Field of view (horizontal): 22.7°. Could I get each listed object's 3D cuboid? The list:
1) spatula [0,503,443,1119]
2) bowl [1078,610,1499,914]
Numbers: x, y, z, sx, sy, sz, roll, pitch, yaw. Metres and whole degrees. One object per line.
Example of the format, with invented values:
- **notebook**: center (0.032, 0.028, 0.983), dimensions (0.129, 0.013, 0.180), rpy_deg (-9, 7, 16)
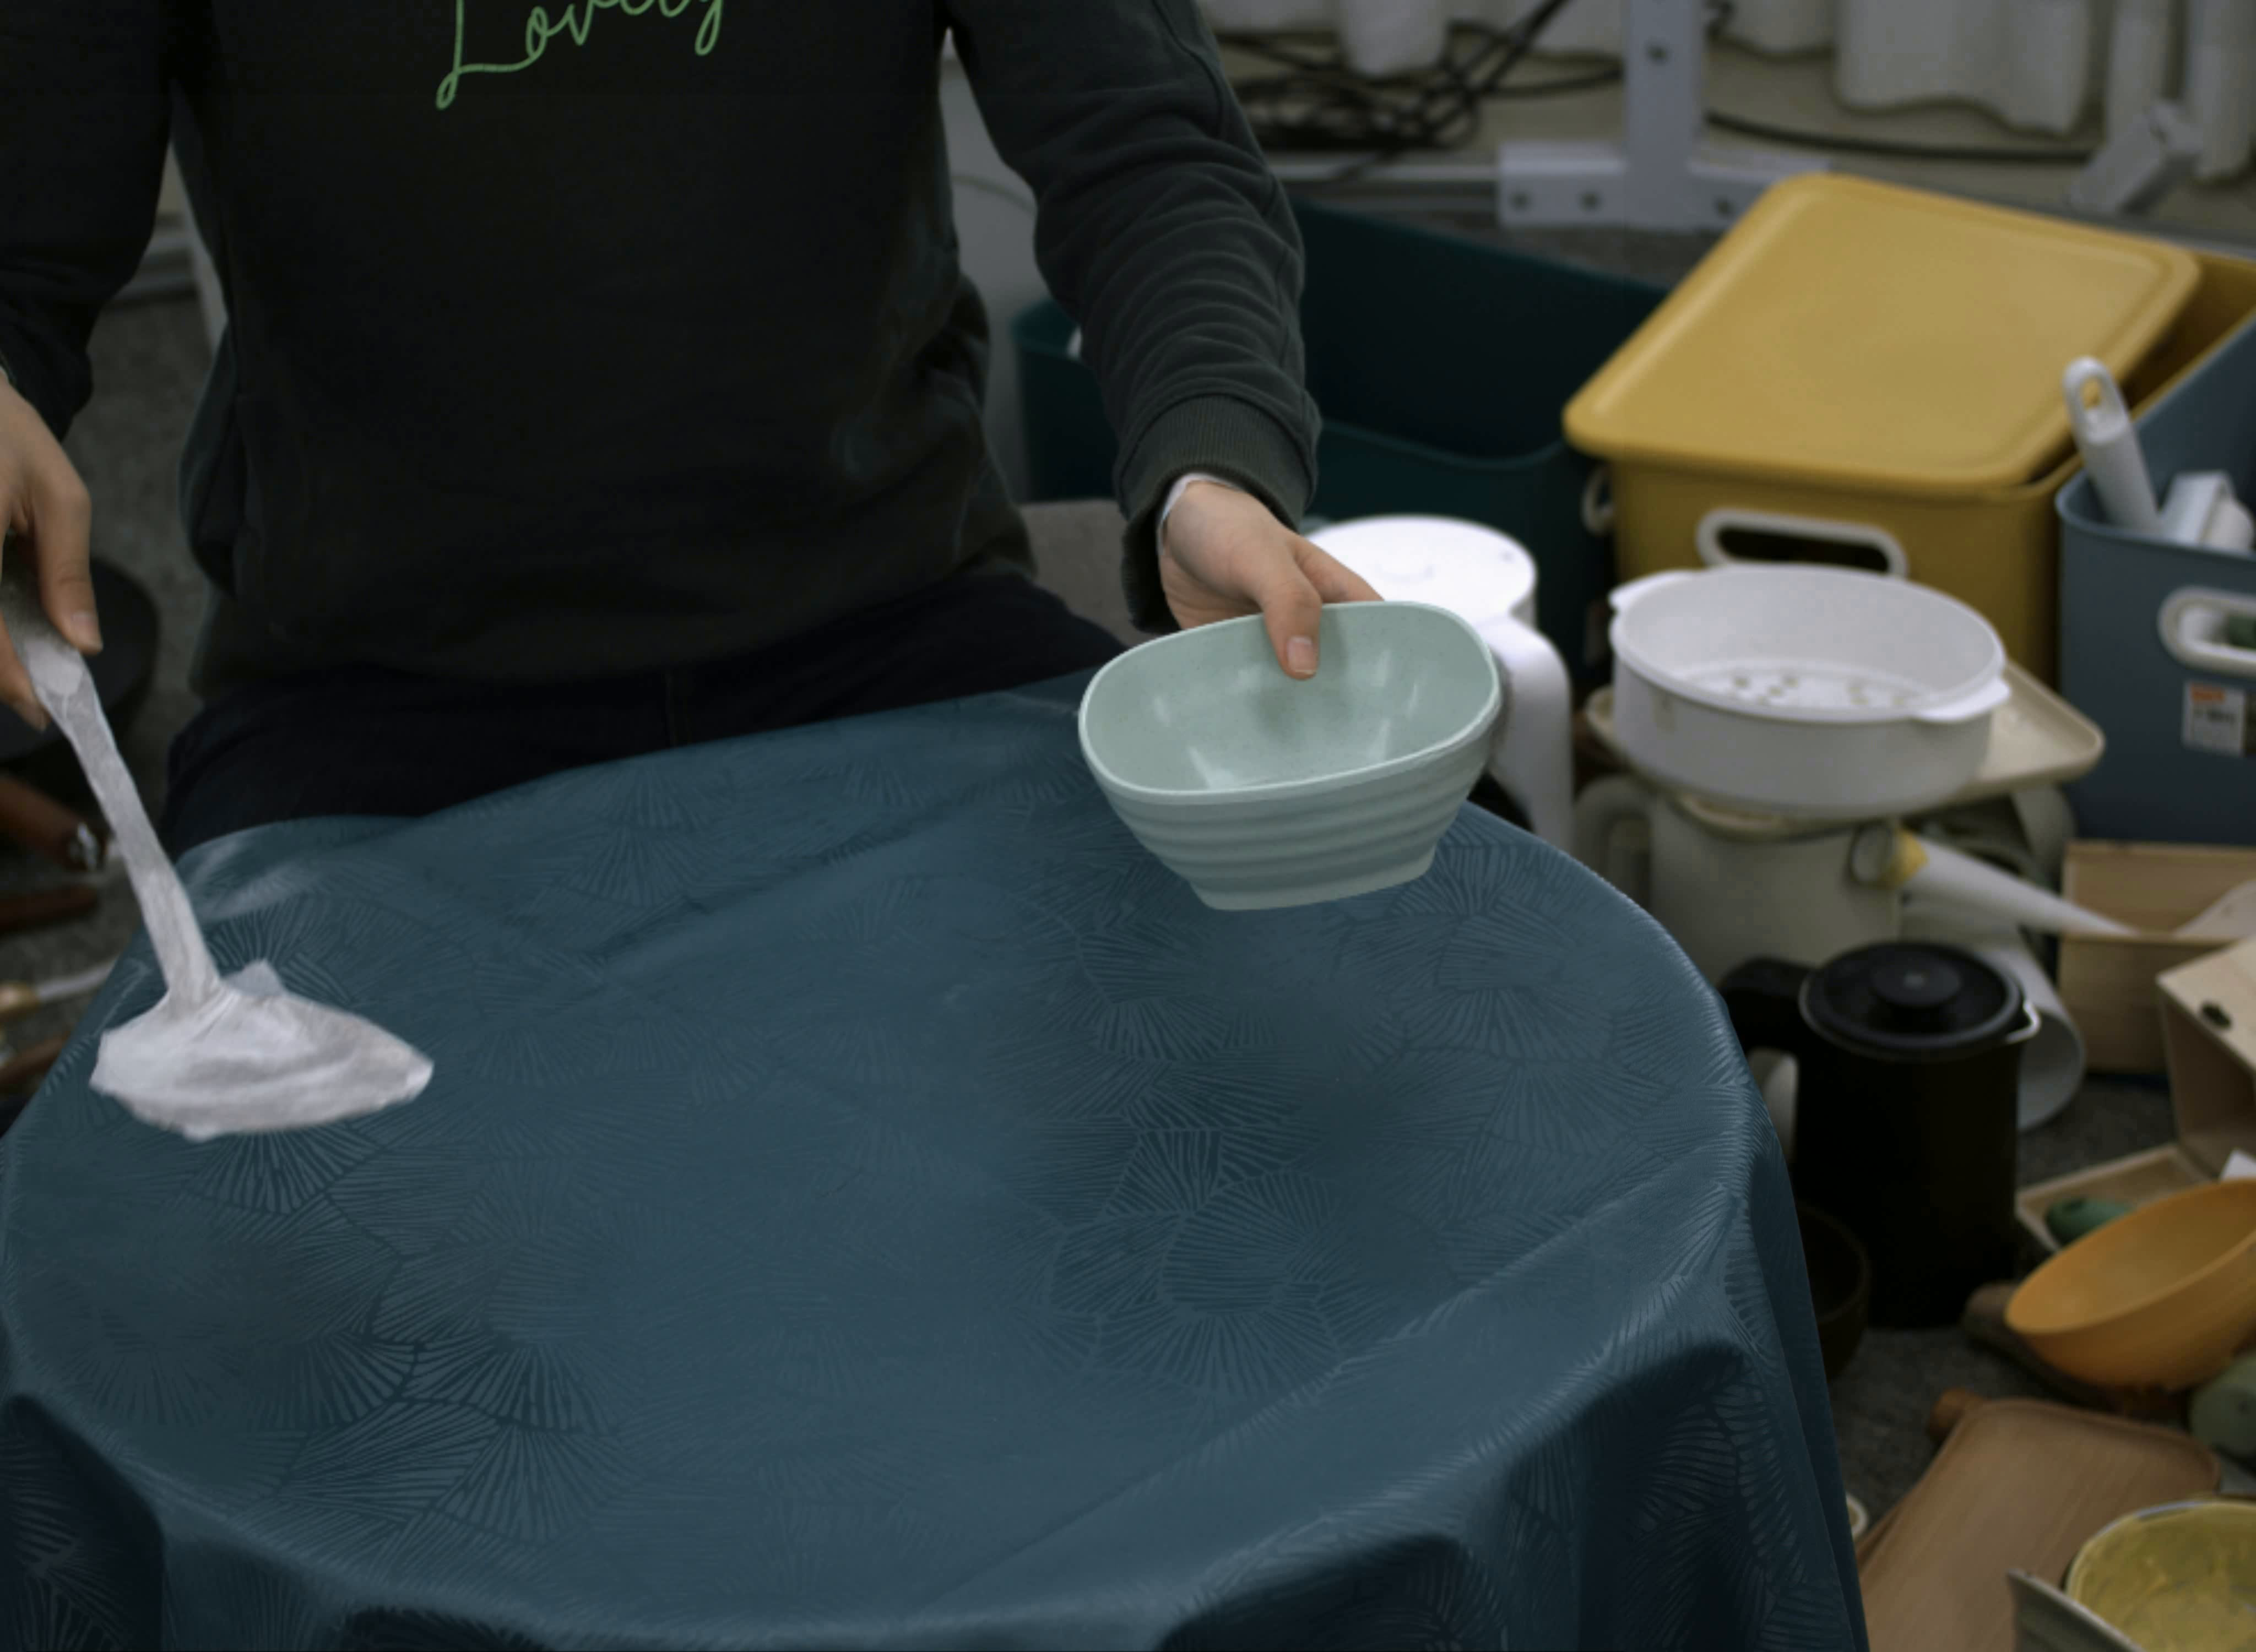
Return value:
- **spatula**: center (-0.327, -0.013, 1.858), dimensions (0.099, 0.044, 0.369), rpy_deg (-9, 43, -25)
- **bowl**: center (0.056, -0.016, 1.859), dimensions (0.150, 0.058, 0.153), rpy_deg (-6, 24, 3)
